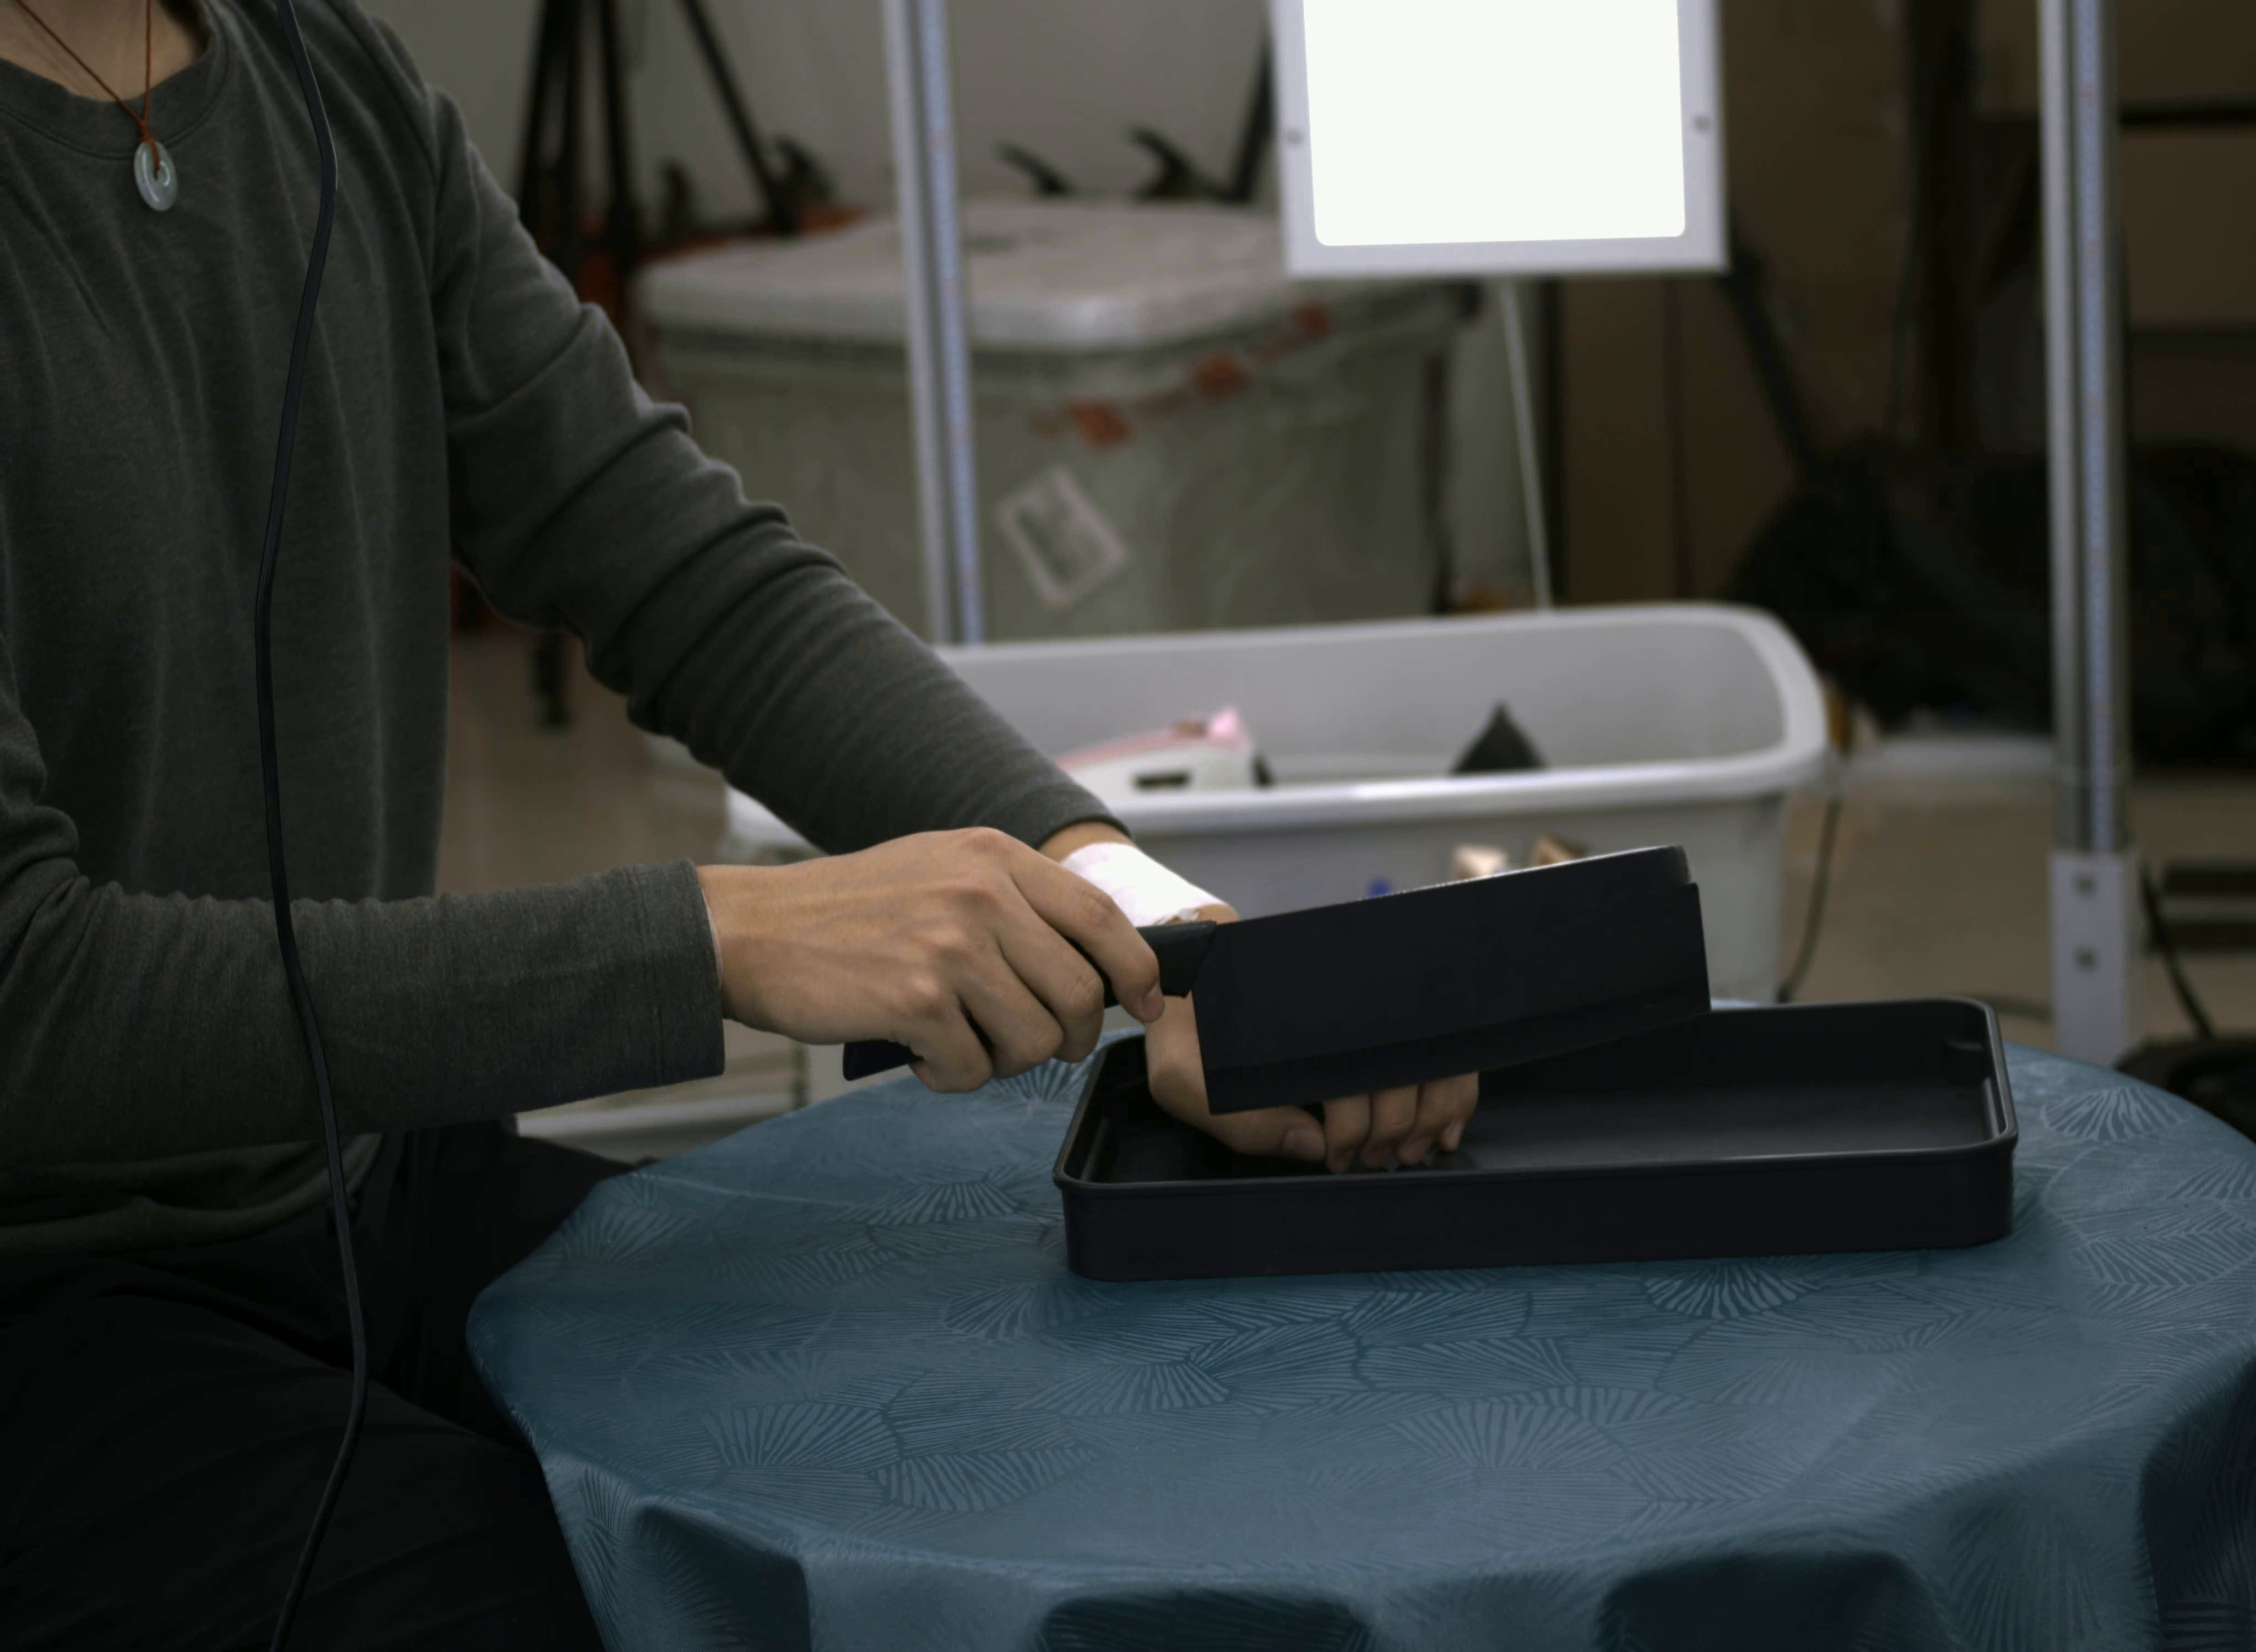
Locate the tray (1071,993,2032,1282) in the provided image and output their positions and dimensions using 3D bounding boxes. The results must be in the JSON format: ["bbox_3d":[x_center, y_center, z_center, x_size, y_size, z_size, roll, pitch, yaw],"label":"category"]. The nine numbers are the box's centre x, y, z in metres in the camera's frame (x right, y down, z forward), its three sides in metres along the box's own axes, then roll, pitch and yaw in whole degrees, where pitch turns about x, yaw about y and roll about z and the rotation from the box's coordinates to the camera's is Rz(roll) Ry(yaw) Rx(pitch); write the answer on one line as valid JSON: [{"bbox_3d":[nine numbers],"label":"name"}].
[{"bbox_3d":[0.145,0.104,1.865,0.319,0.037,0.183,-3,14,7],"label":"tray"}]

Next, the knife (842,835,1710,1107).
[{"bbox_3d":[0.052,0.056,1.853,0.299,0.081,0.021,-6,9,-9],"label":"knife"}]
